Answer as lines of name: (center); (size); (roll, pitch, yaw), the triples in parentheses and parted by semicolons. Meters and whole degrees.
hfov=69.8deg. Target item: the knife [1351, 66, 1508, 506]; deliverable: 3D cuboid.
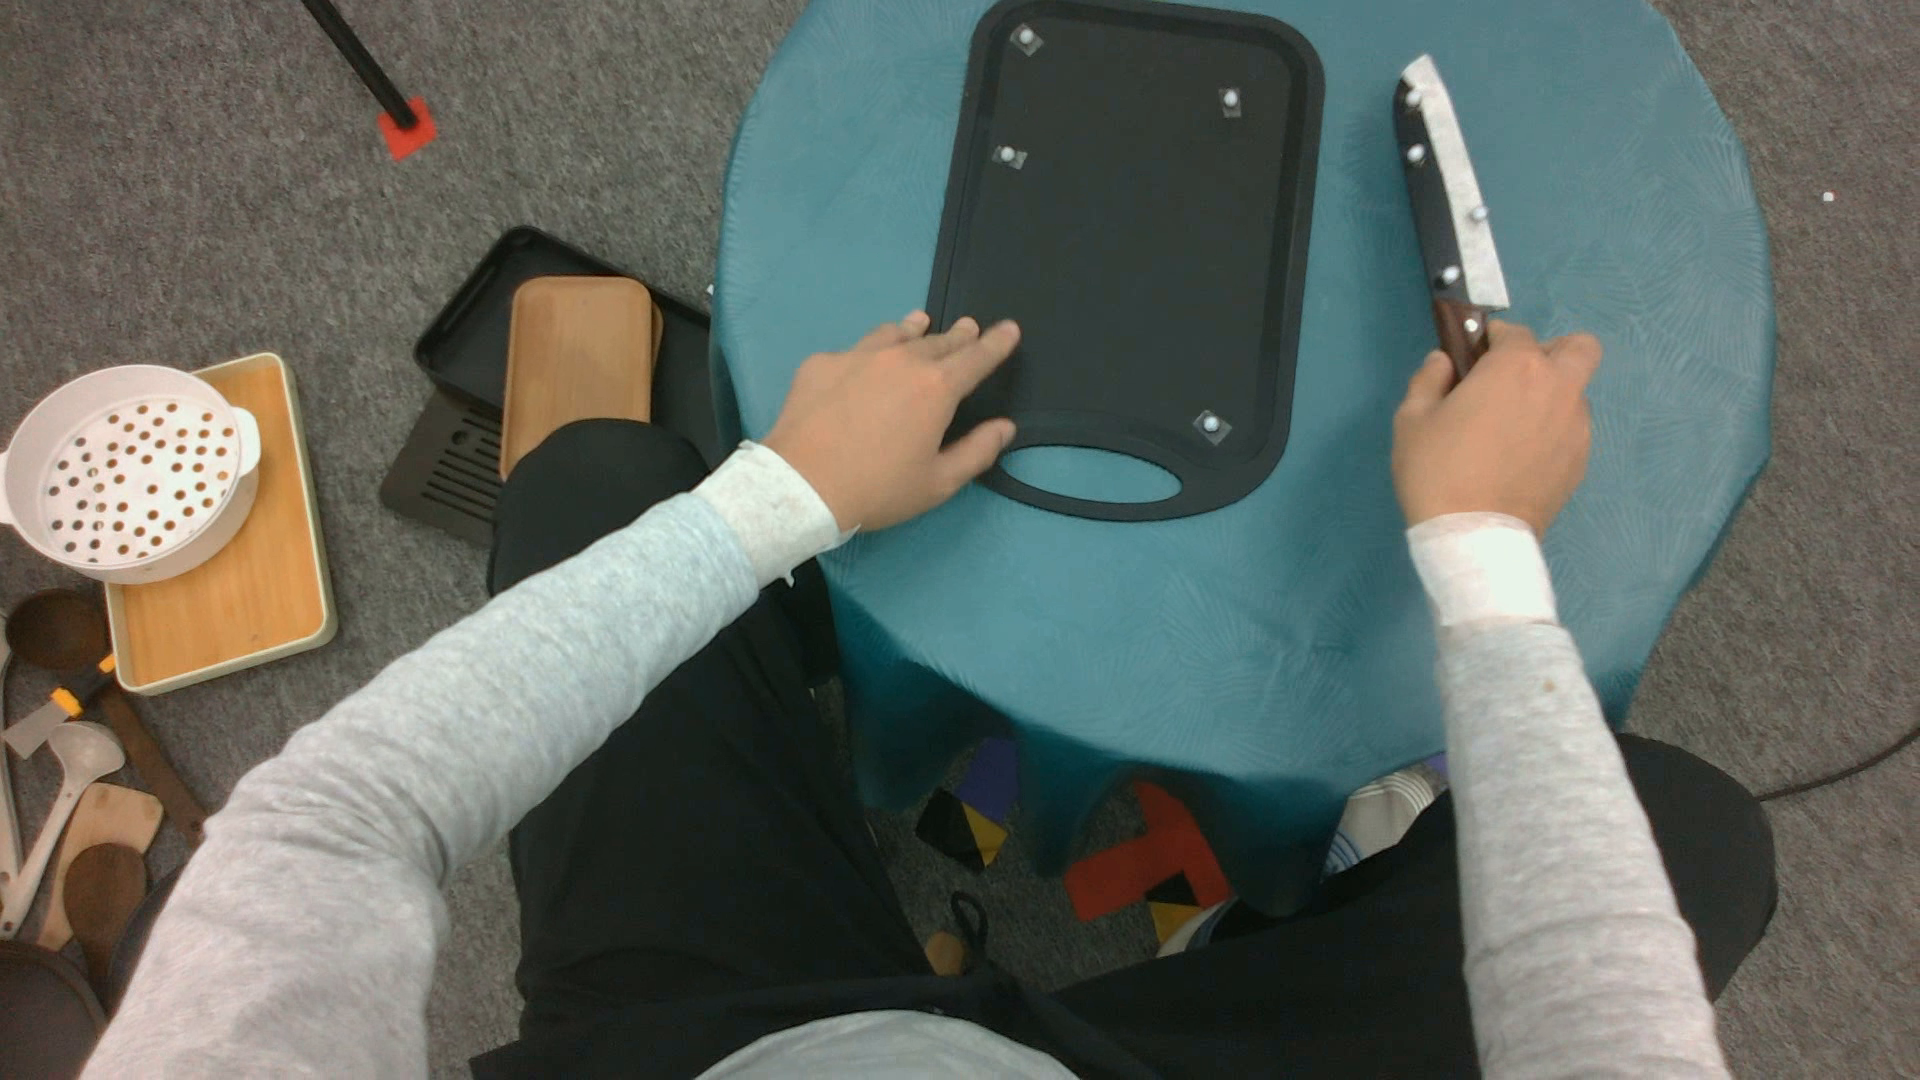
knife: (0.253, -0.149, 0.749); (0.050, 0.020, 0.290); (2, 64, -12)

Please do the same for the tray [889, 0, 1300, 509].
tray: (0.080, -0.175, 0.784); (0.211, 0.010, 0.326); (9, 75, 2)
